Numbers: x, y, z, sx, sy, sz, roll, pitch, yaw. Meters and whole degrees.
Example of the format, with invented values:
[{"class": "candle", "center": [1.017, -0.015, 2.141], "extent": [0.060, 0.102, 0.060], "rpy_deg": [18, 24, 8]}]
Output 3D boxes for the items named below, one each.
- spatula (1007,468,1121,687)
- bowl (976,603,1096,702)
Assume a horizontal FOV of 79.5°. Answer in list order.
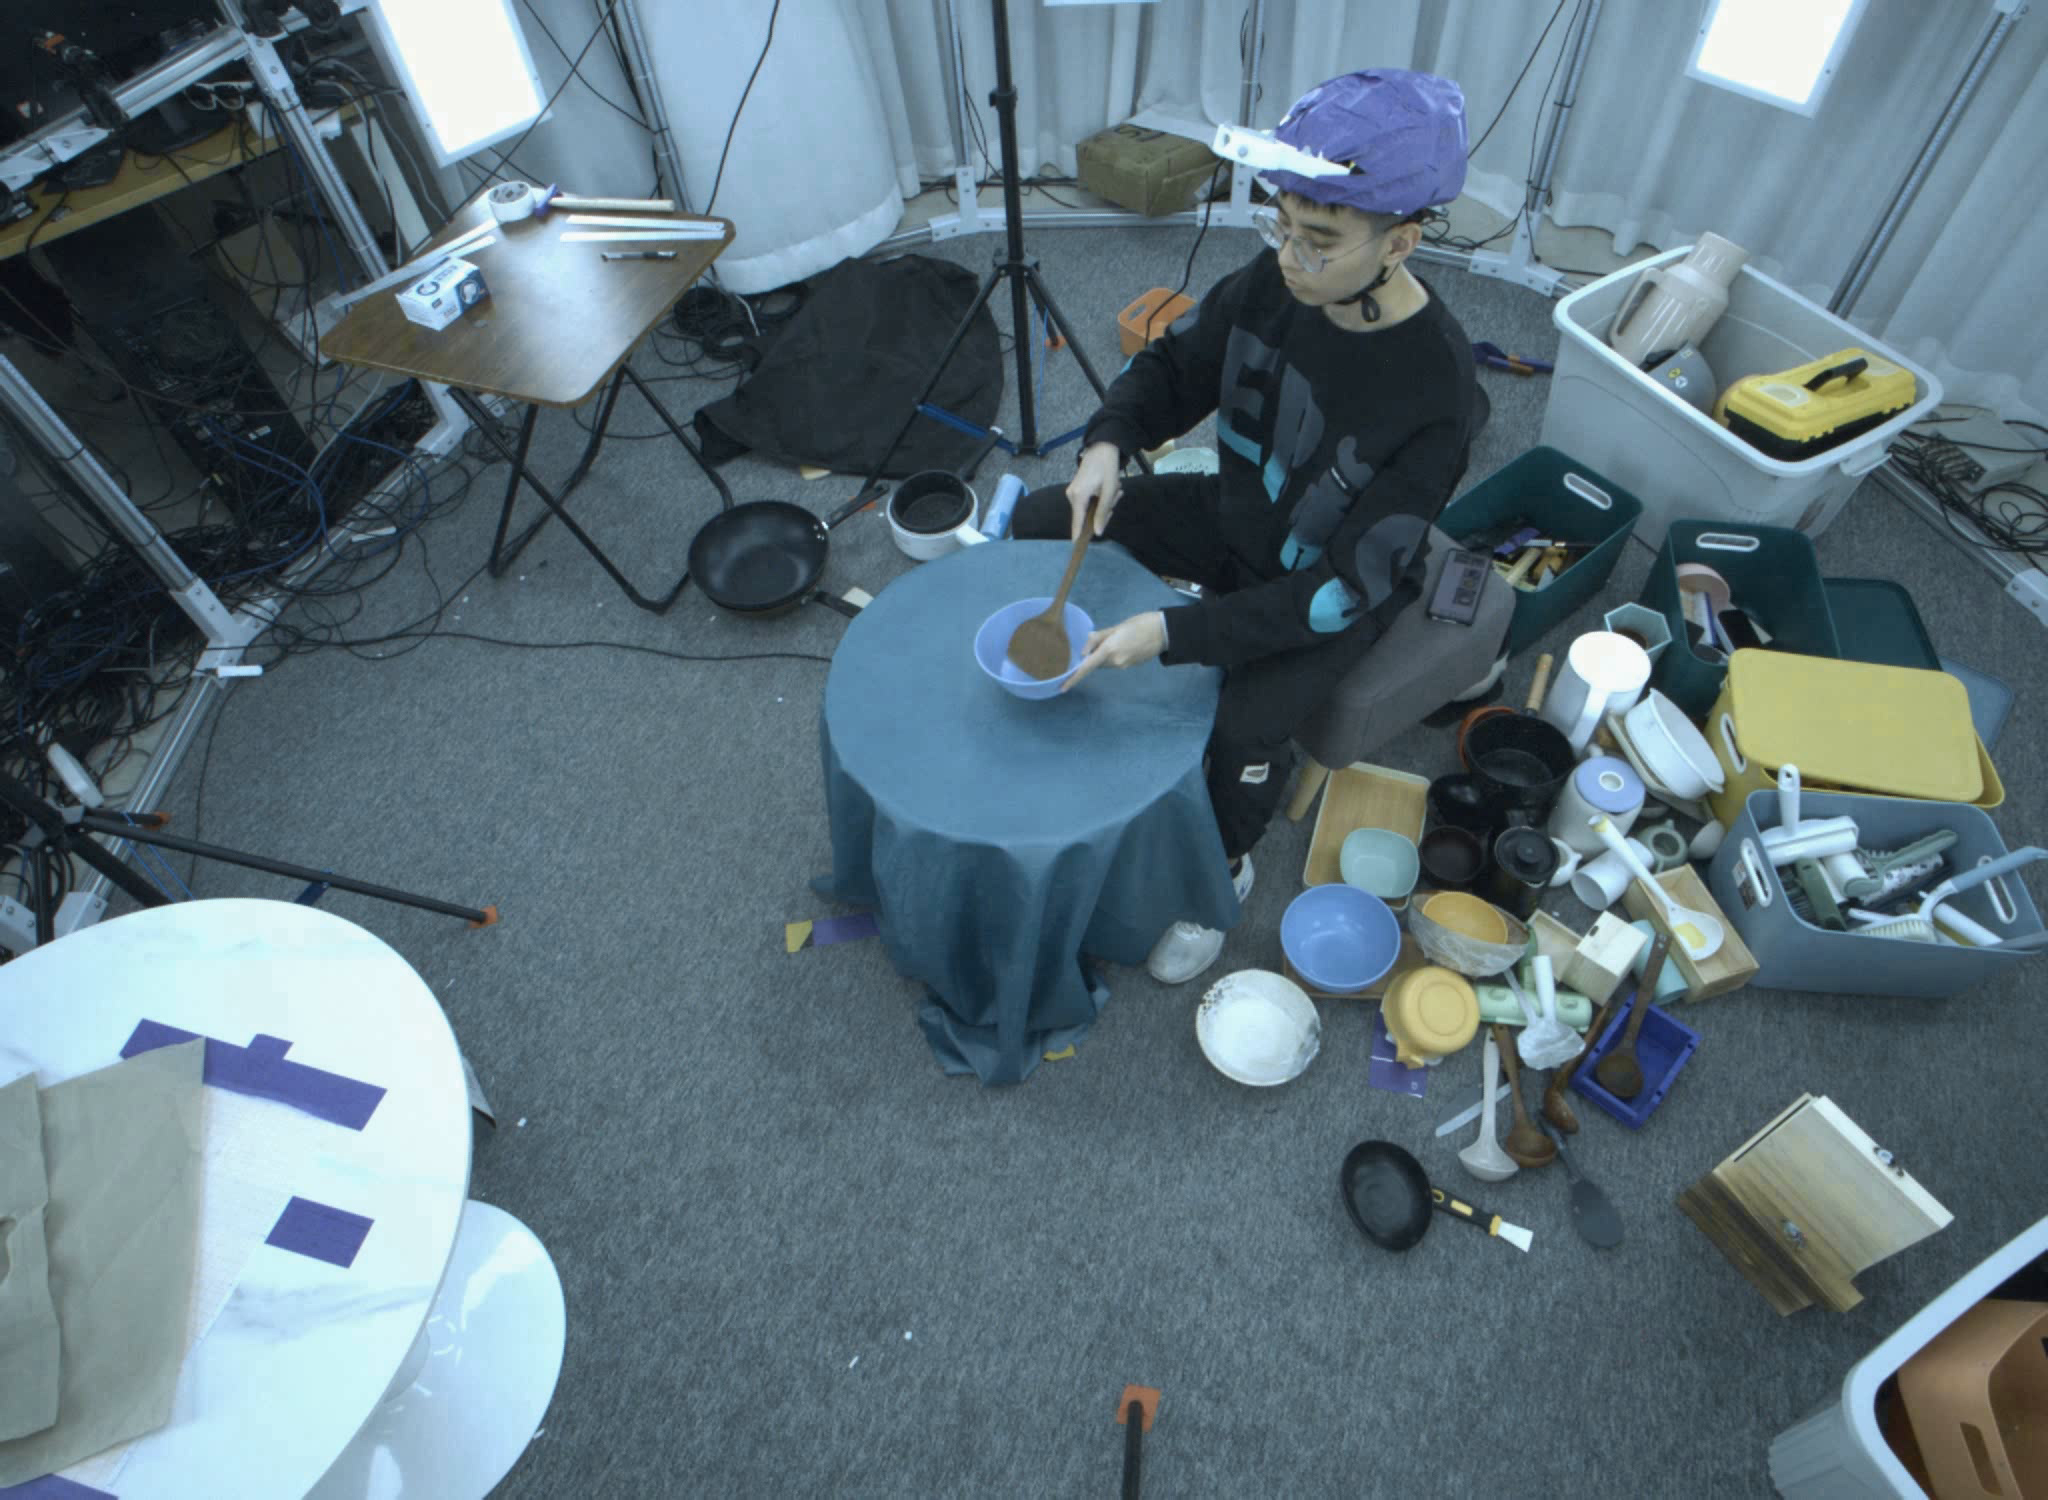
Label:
[{"class": "spatula", "center": [0.074, -0.266, 1.812], "extent": [0.097, 0.015, 0.385], "rpy_deg": [26, 70, -13]}, {"class": "bowl", "center": [0.021, -0.133, 1.805], "extent": [0.175, 0.071, 0.174], "rpy_deg": [-3, 50, 5]}]
